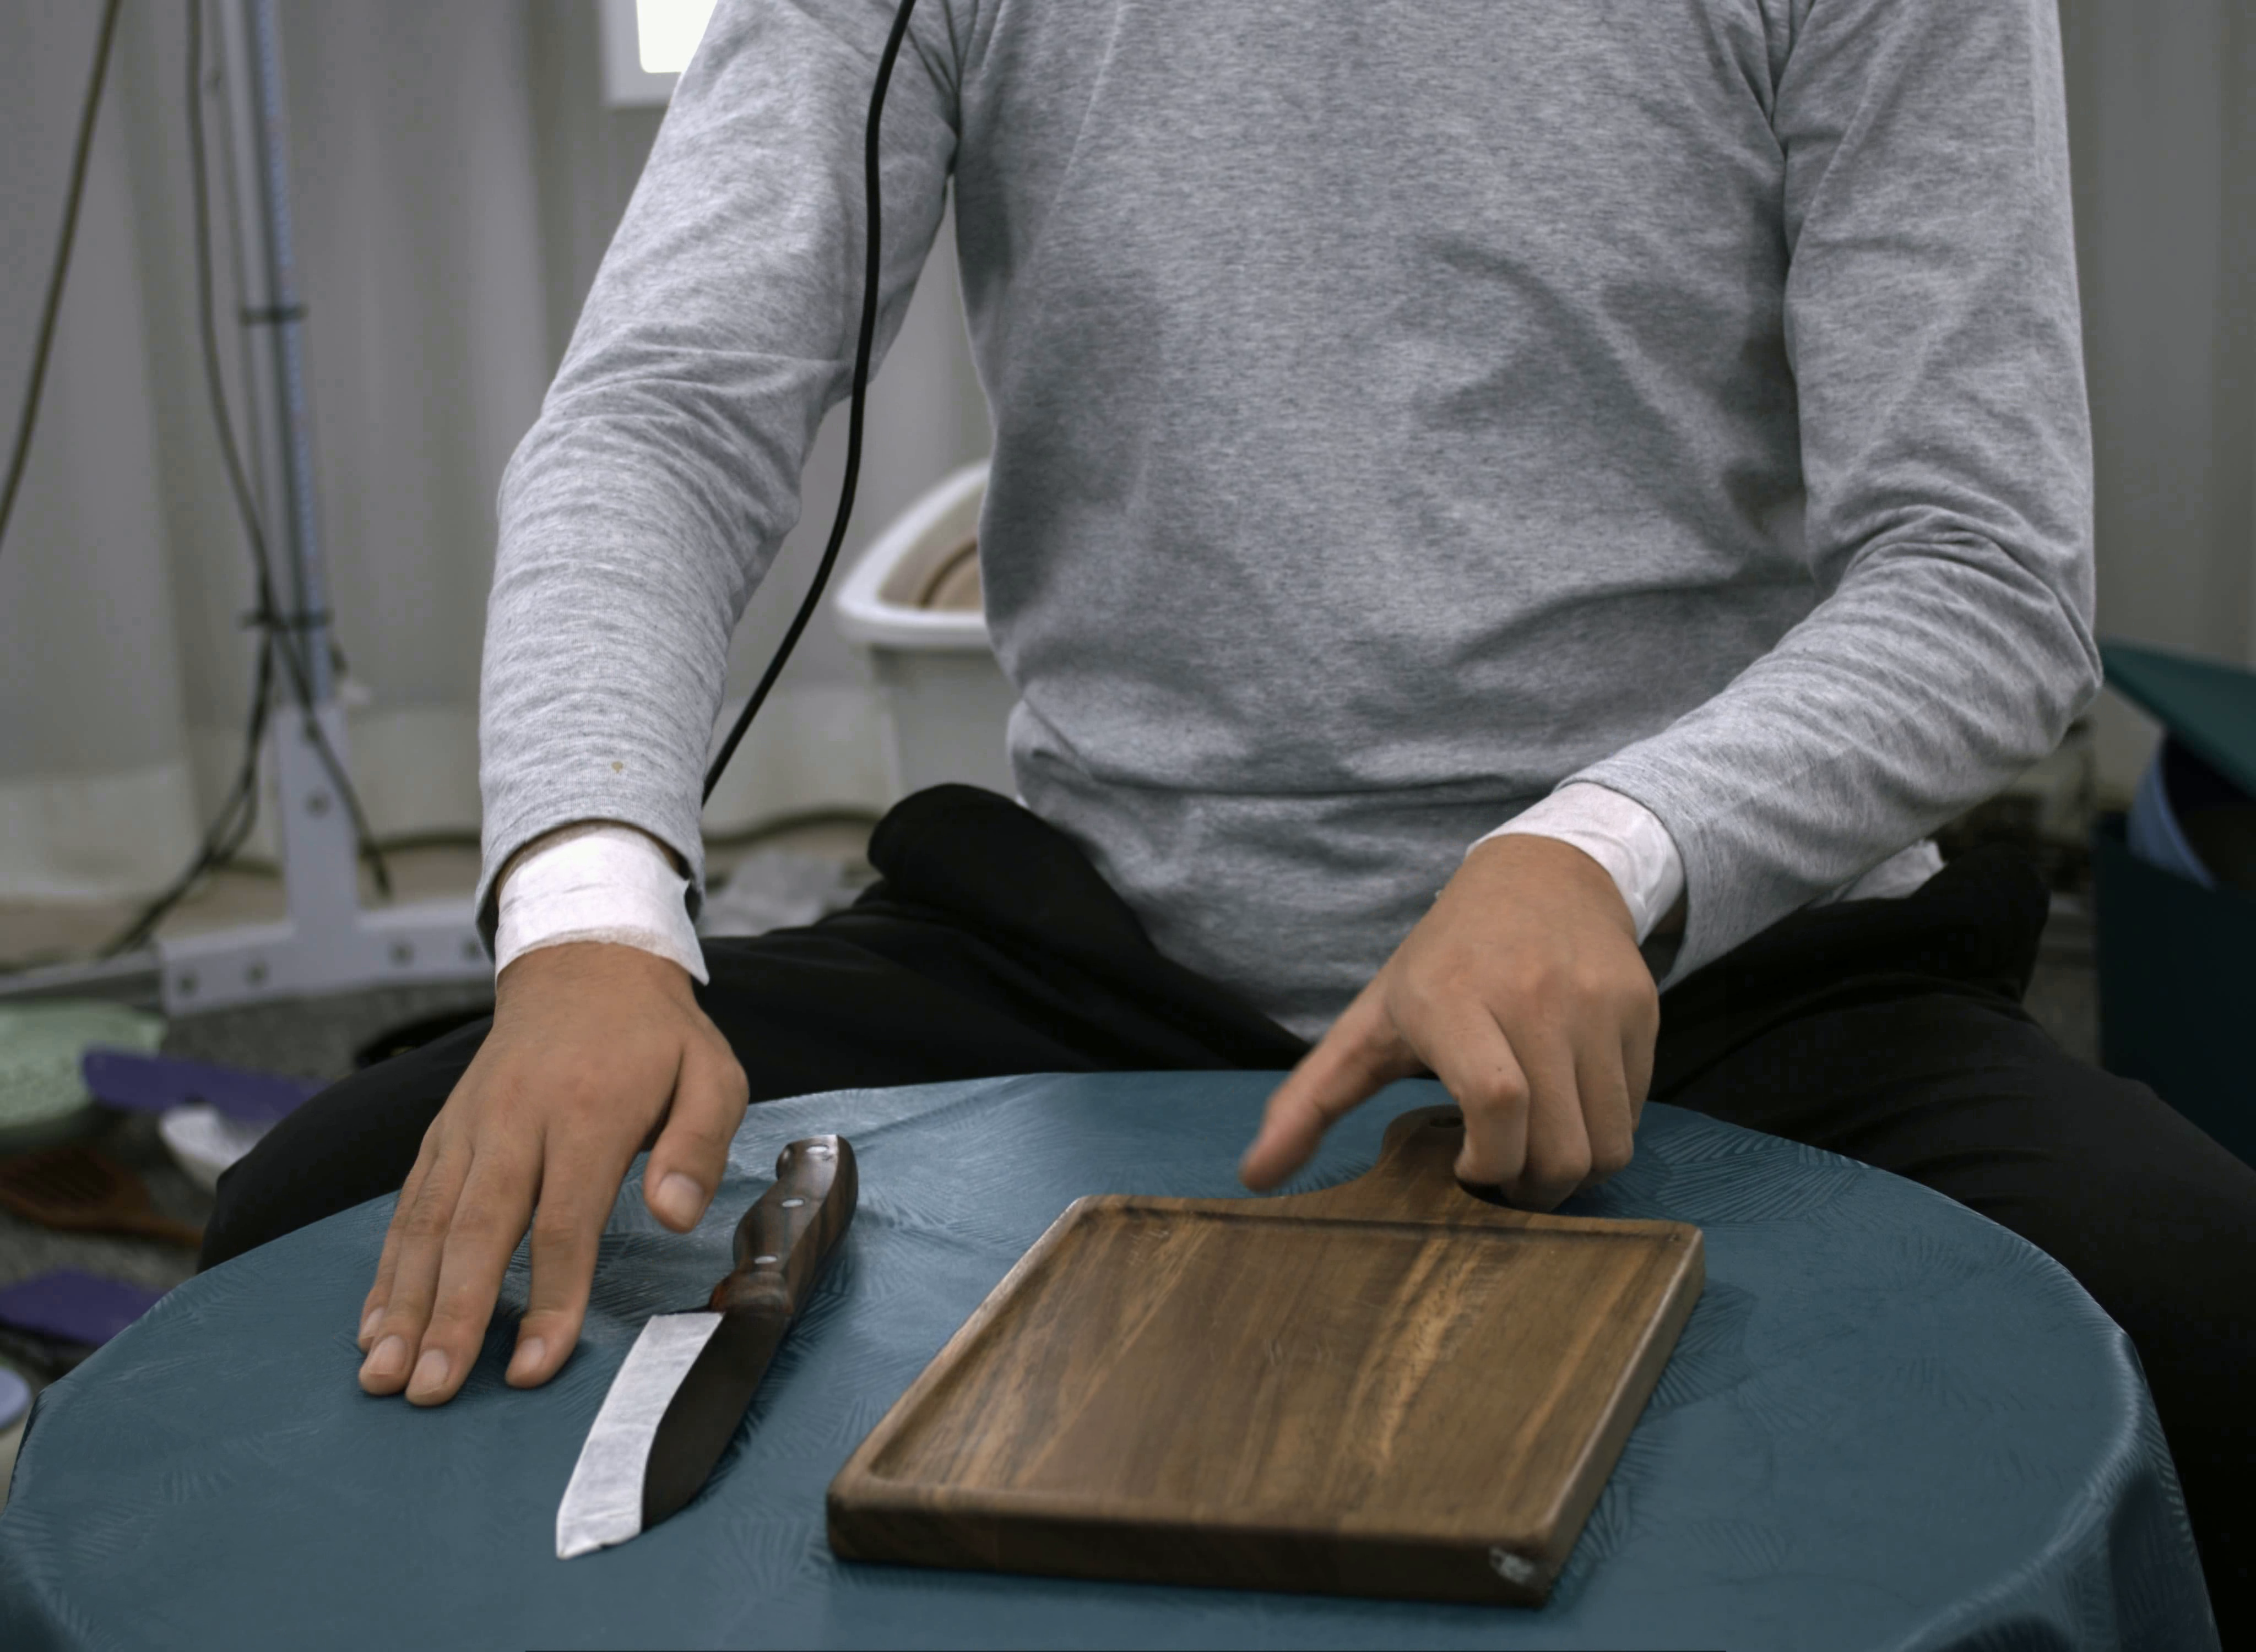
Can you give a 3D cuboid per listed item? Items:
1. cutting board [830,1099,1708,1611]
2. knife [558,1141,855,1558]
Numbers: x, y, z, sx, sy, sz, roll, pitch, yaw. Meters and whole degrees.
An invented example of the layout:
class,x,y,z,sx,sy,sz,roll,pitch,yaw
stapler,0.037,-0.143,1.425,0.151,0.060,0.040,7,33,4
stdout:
class,x,y,z,sx,sy,sz,roll,pitch,yaw
cutting board,0.059,0.142,1.565,0.201,0.023,0.353,2,16,16
knife,-0.119,0.150,1.579,0.050,0.020,0.291,-5,17,12
